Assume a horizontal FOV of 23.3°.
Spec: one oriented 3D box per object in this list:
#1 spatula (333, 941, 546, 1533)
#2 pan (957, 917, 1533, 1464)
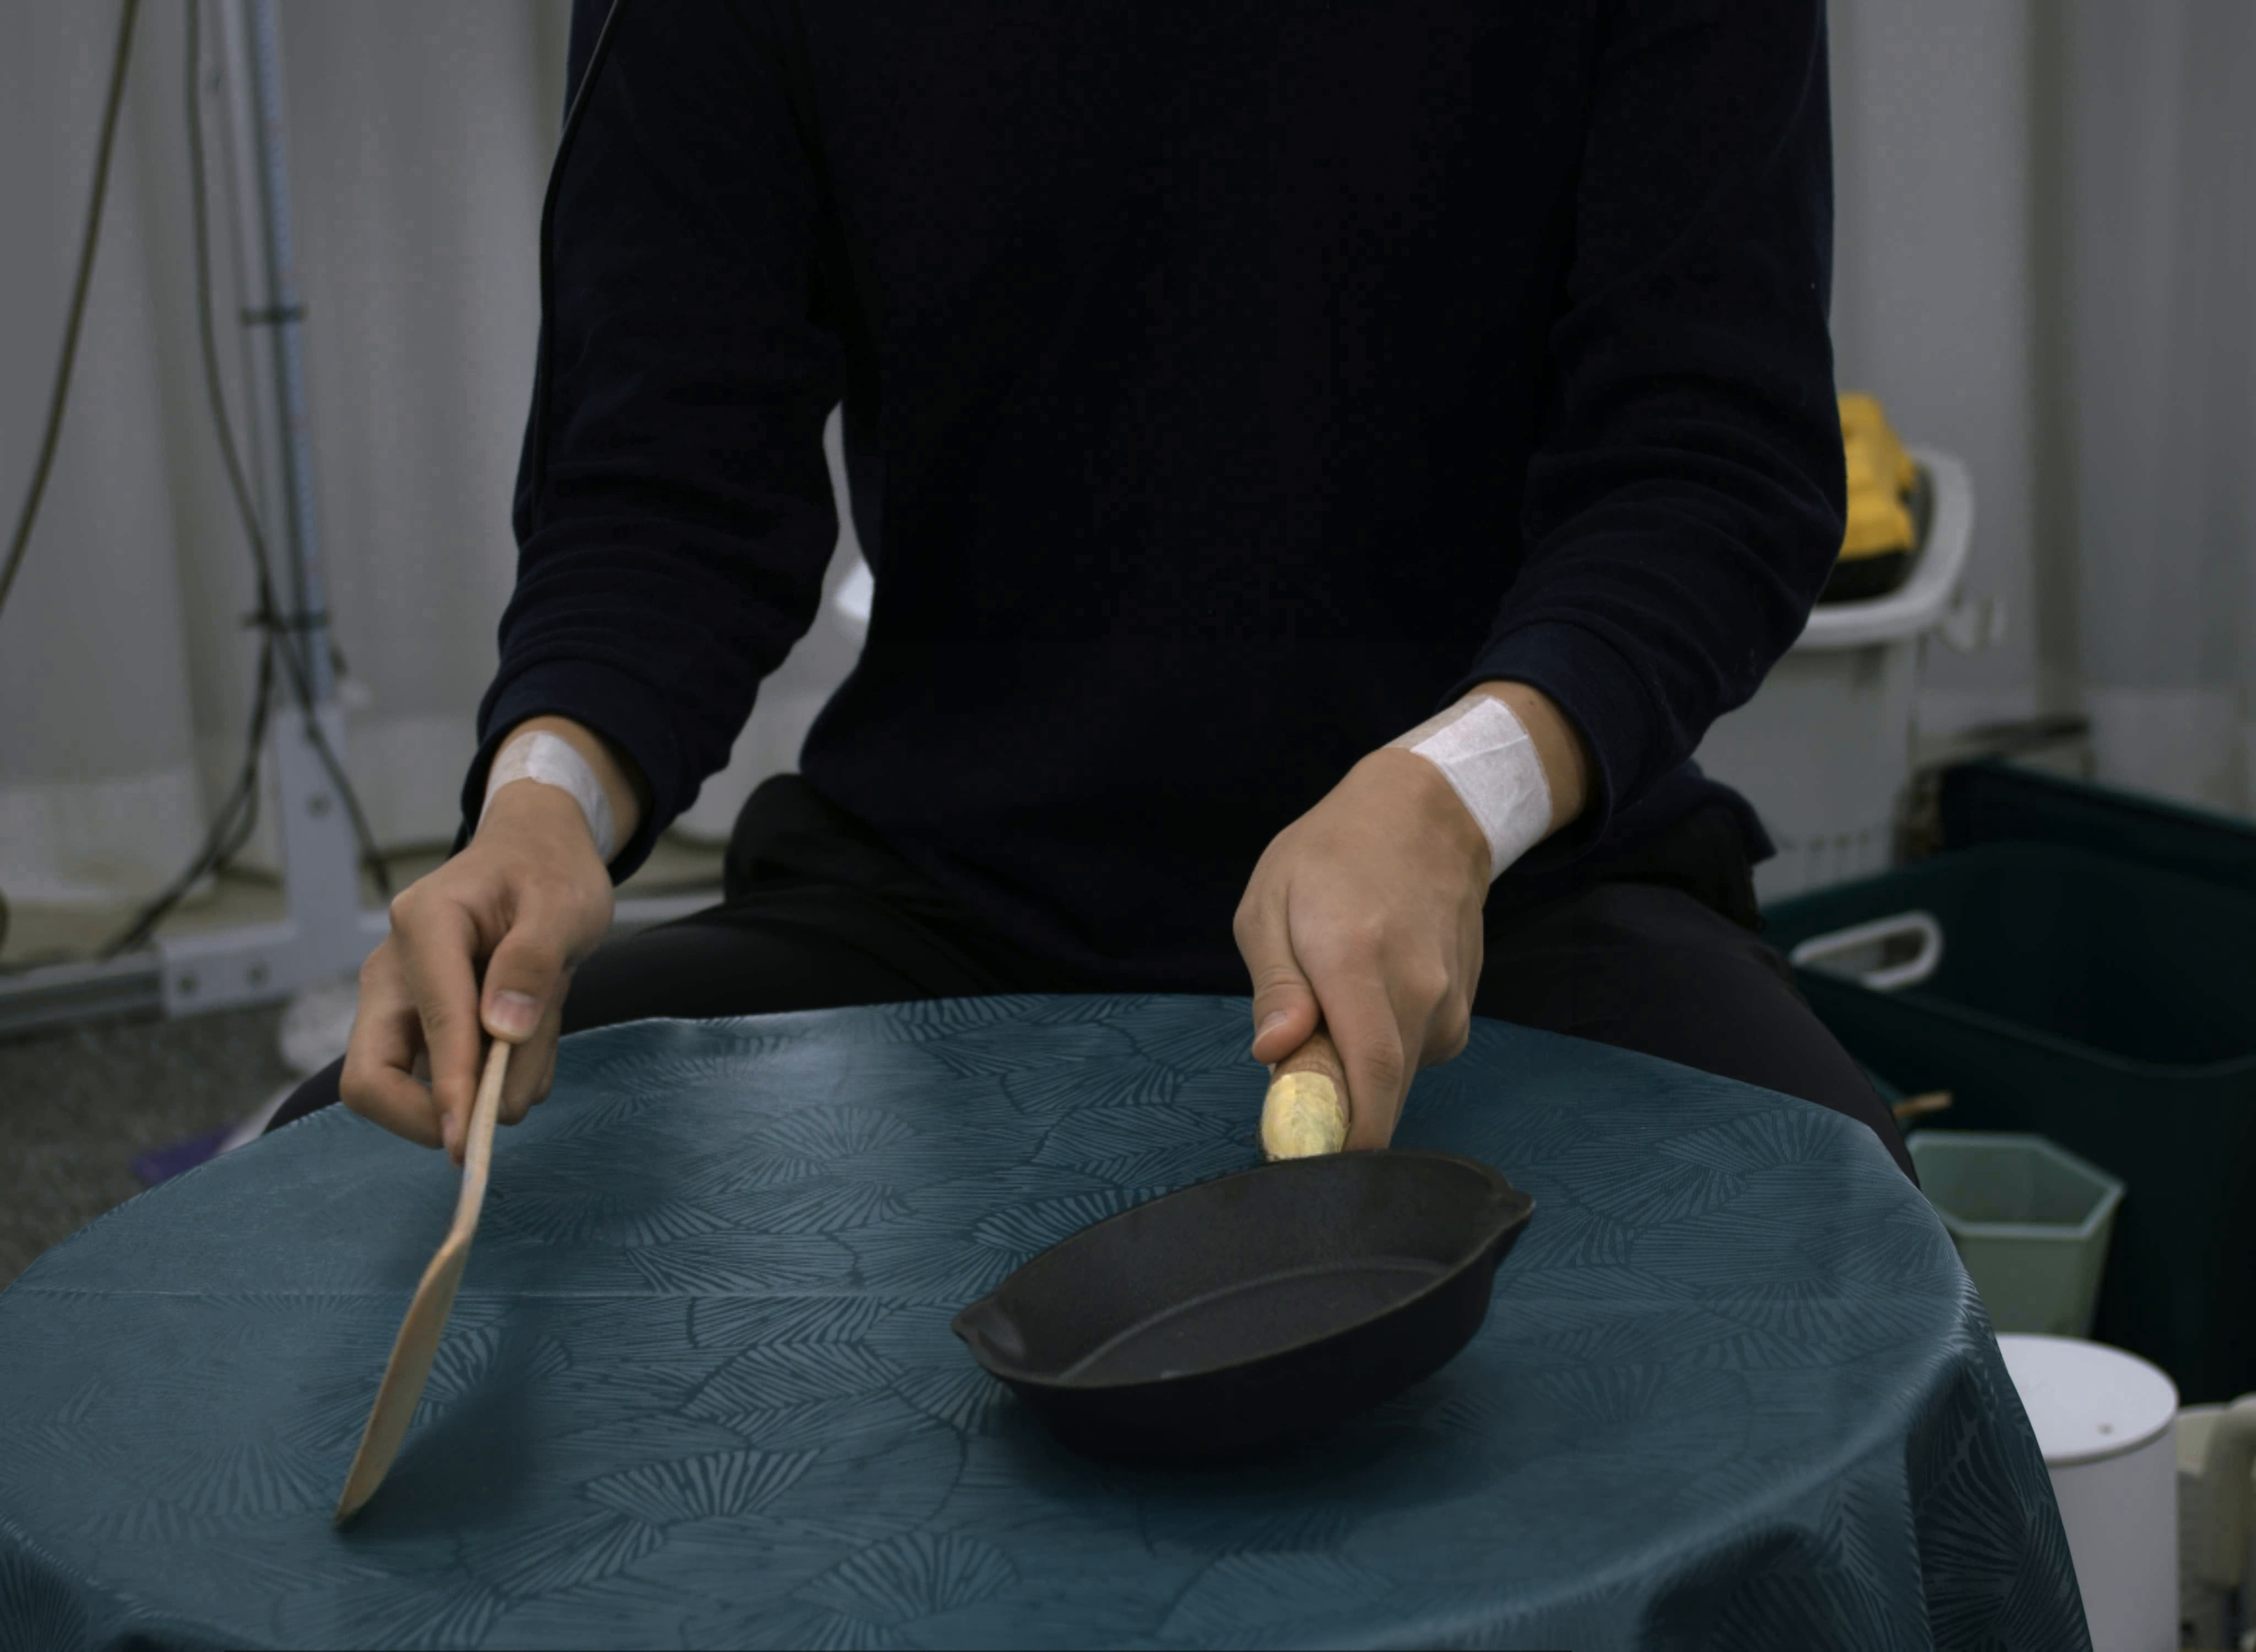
[{"bbox_3d":[-0.194,0.102,1.606,0.016,0.079,0.331,19,20,-8],"label":"spatula"},{"bbox_3d":[0.050,0.102,1.598,0.168,0.049,0.326,-12,16,16],"label":"pan"}]
